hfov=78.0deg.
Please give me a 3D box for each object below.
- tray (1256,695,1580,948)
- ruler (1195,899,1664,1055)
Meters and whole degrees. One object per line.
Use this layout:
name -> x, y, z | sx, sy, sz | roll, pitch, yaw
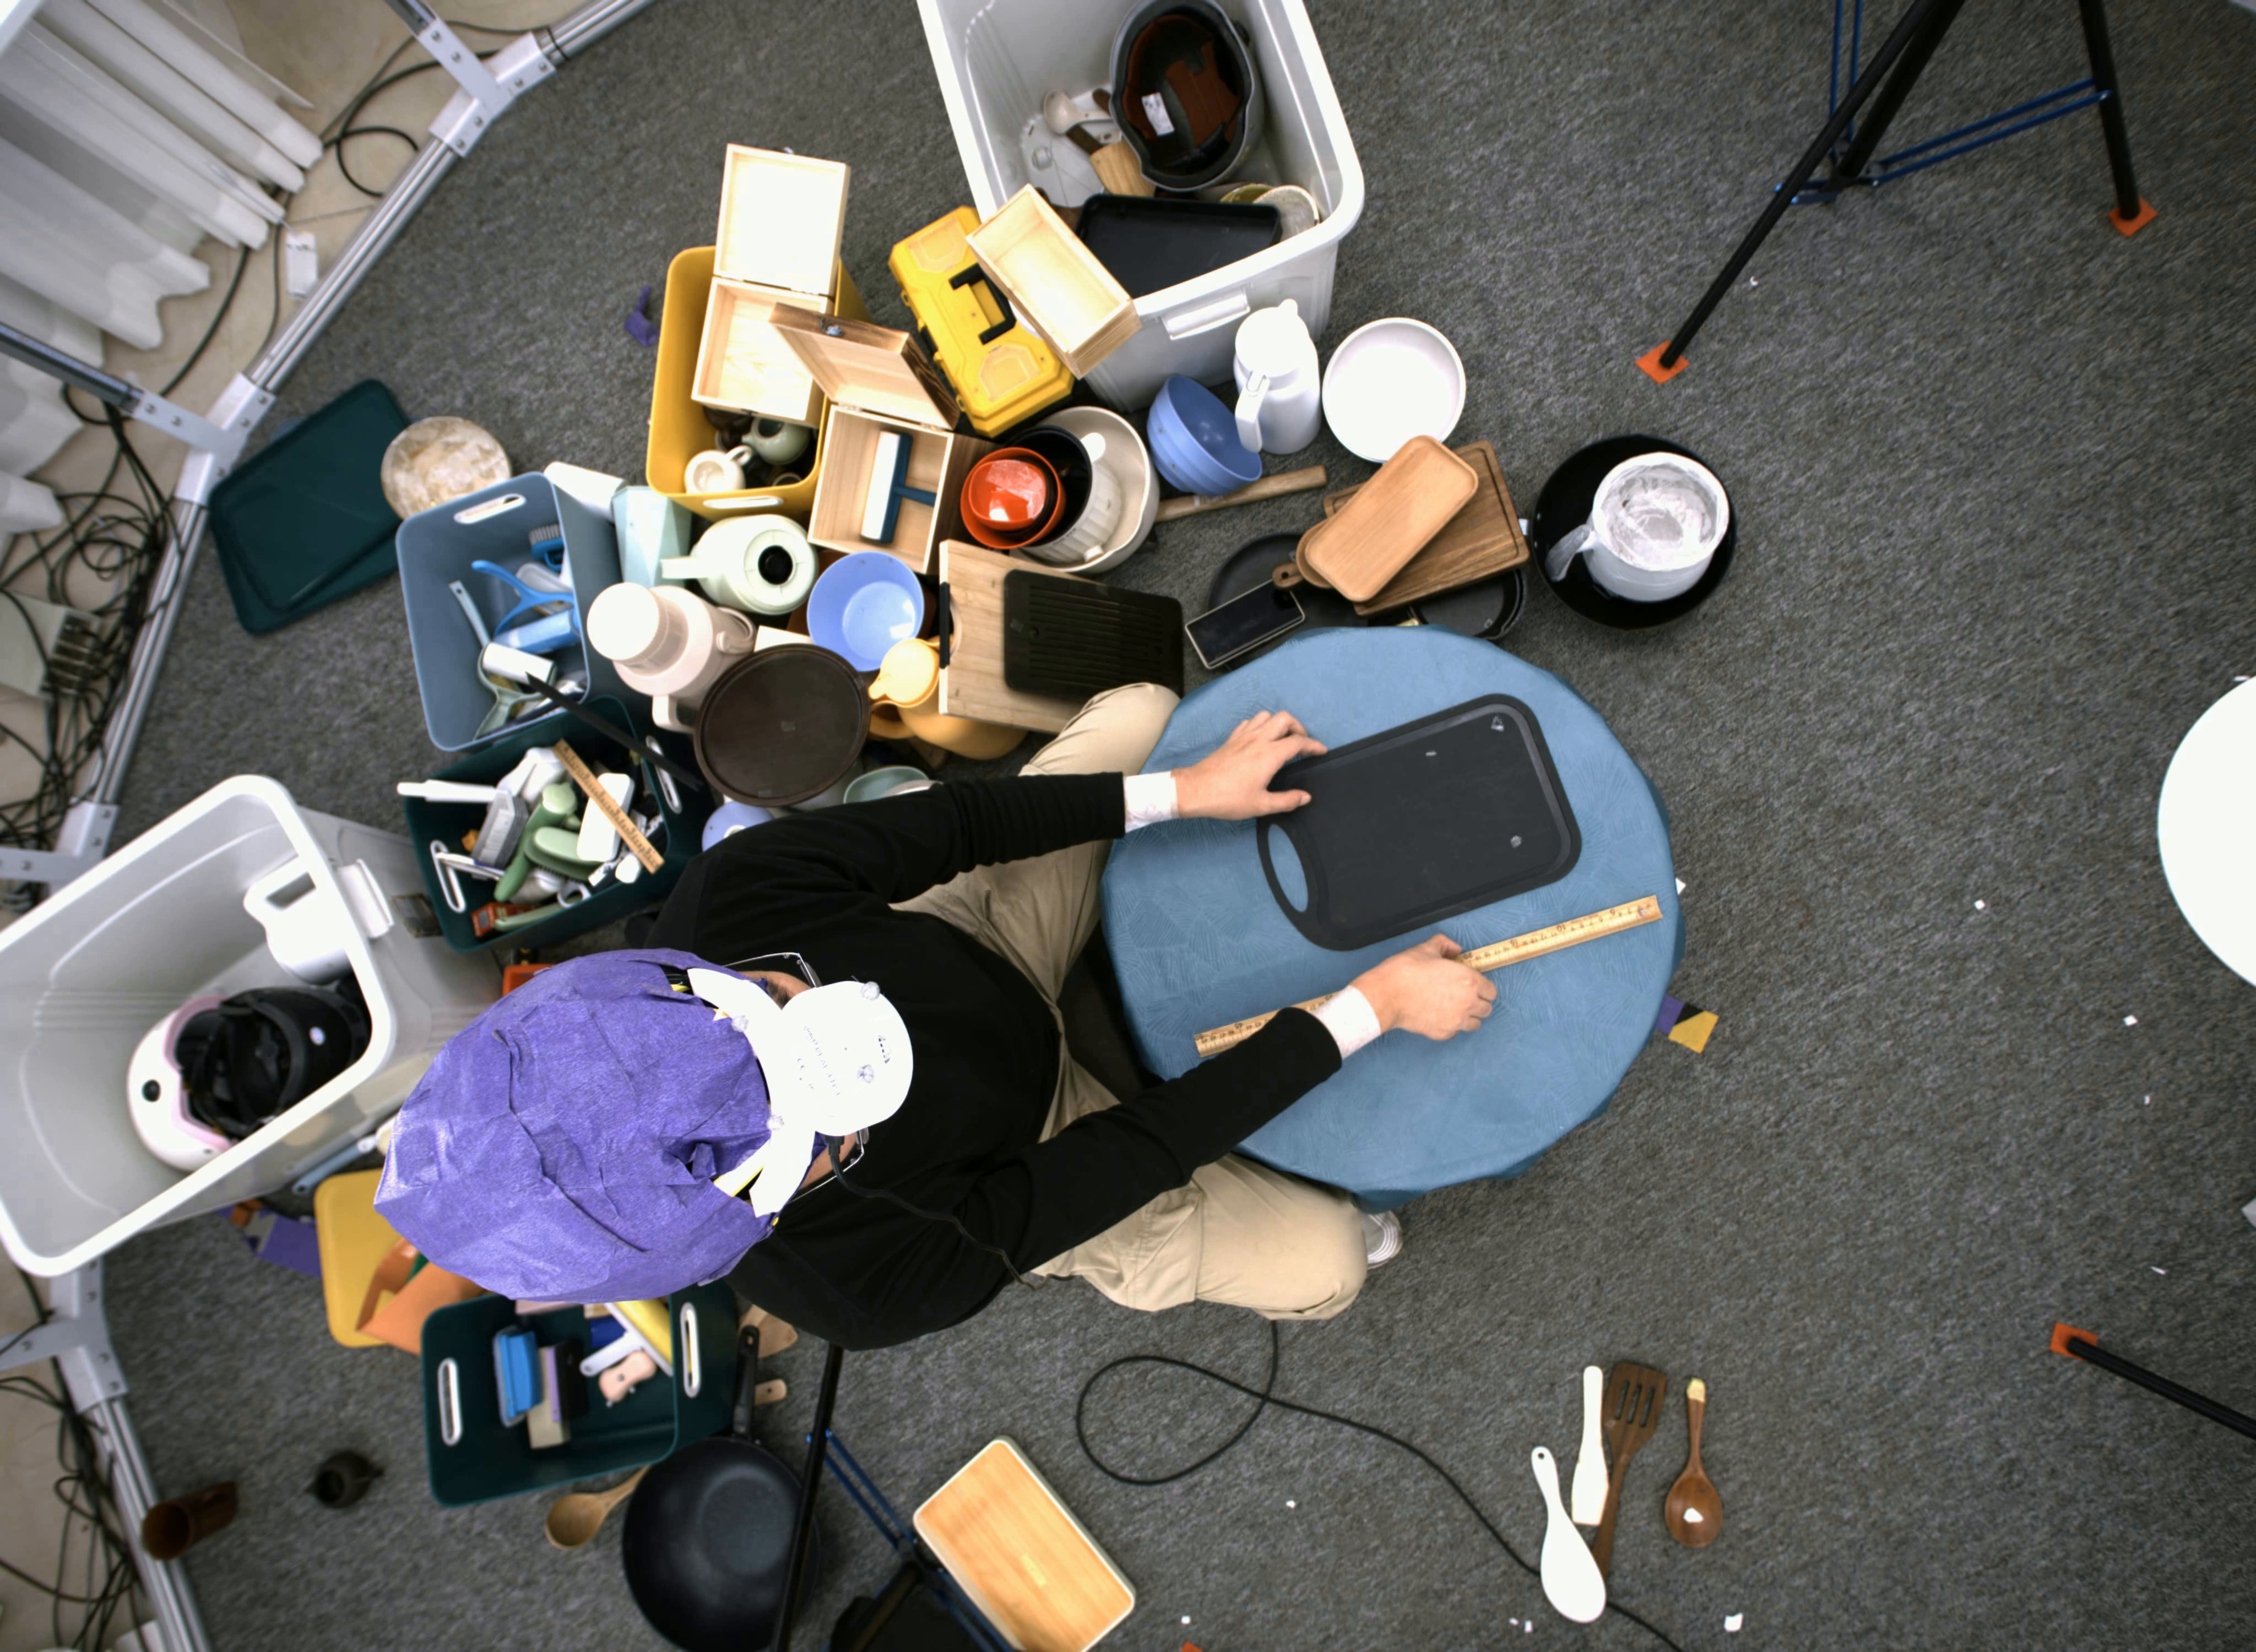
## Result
tray -> 0.298, -0.002, 1.455 | 0.327, 0.010, 0.210 | -19, 84, 9
ruler -> 0.310, 0.157, 1.446 | 0.503, 0.006, 0.026 | -18, 82, 9
